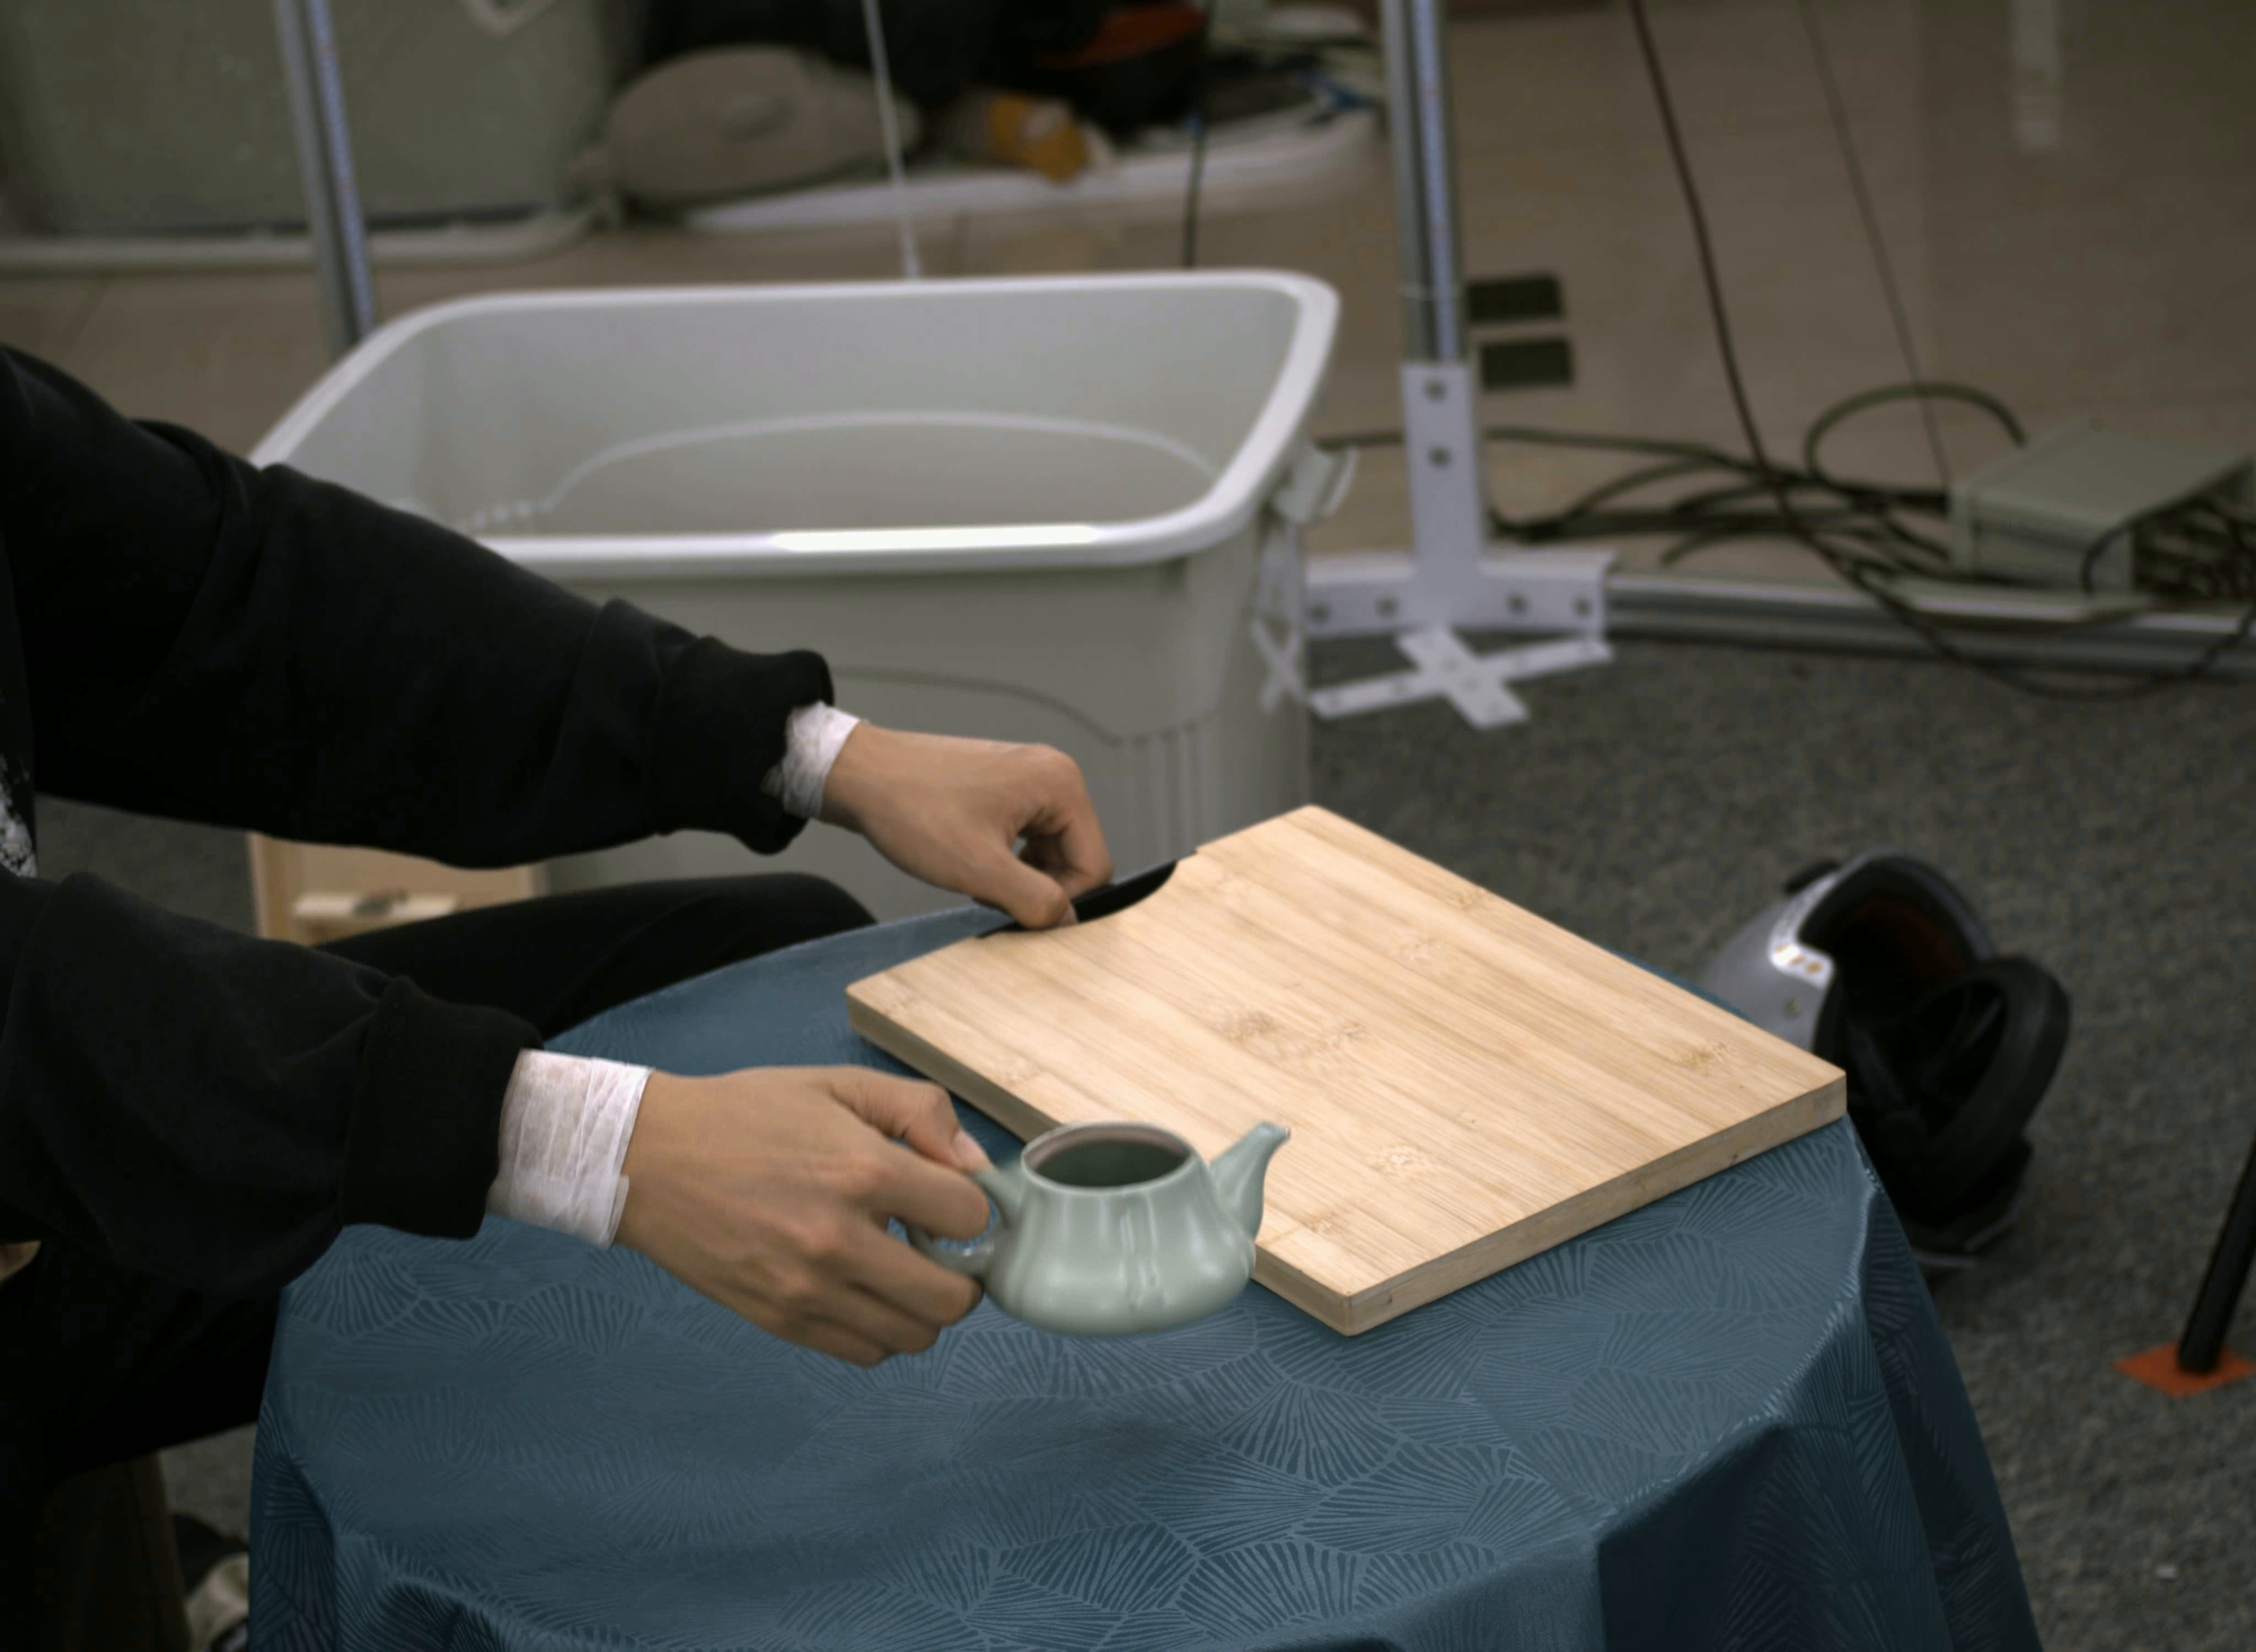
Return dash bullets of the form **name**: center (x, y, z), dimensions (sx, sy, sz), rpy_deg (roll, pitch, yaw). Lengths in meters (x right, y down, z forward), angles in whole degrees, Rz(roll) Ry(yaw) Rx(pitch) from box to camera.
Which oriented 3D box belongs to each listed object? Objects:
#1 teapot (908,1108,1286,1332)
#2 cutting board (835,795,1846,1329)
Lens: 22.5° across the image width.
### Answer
- **teapot**: center (-0.010, 0.135, 1.956), dimensions (0.136, 0.062, 0.095), rpy_deg (-8, 23, -15)
- **cutting board**: center (0.077, 0.086, 2.218), dimensions (0.249, 0.024, 0.345), rpy_deg (-22, 30, -30)
